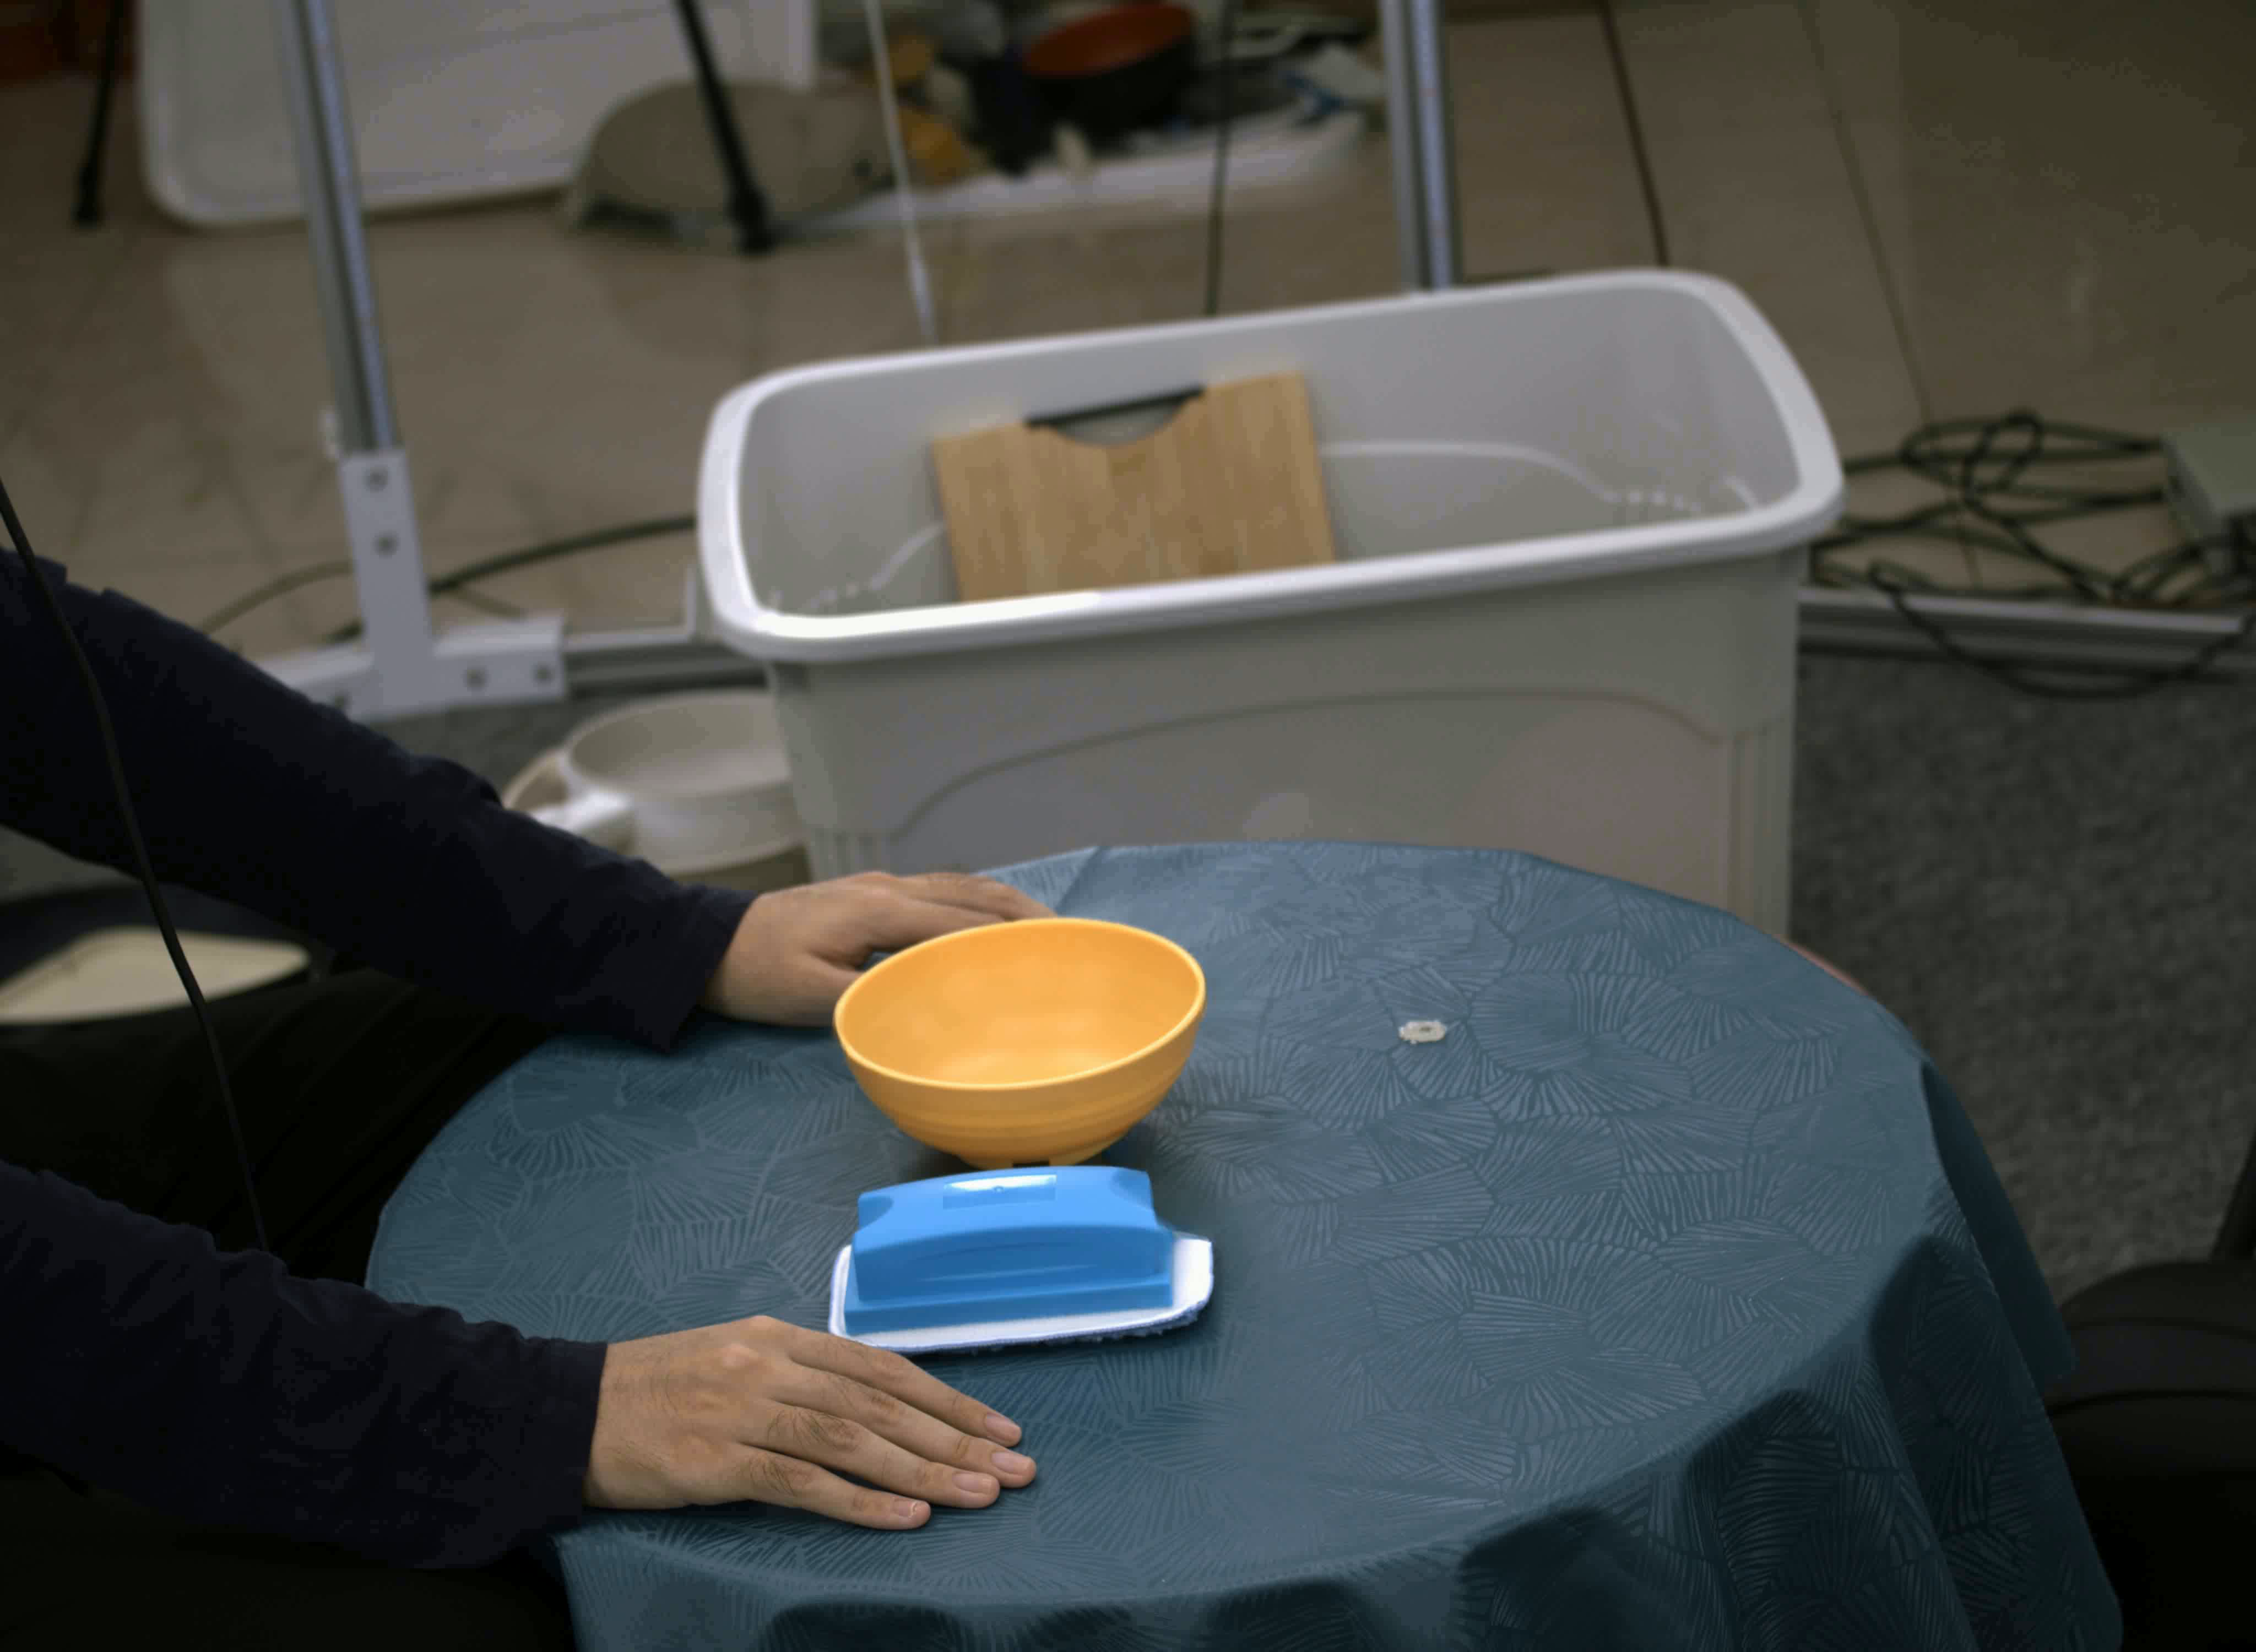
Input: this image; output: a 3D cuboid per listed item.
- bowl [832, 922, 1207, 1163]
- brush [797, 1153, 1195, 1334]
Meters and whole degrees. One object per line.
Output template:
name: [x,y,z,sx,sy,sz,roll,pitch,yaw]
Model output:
bowl: [-0.040,0.094,2.186,0.145,0.061,0.143,-4,25,2]
brush: [-0.048,0.149,2.063,0.144,0.057,0.083,-2,22,4]
